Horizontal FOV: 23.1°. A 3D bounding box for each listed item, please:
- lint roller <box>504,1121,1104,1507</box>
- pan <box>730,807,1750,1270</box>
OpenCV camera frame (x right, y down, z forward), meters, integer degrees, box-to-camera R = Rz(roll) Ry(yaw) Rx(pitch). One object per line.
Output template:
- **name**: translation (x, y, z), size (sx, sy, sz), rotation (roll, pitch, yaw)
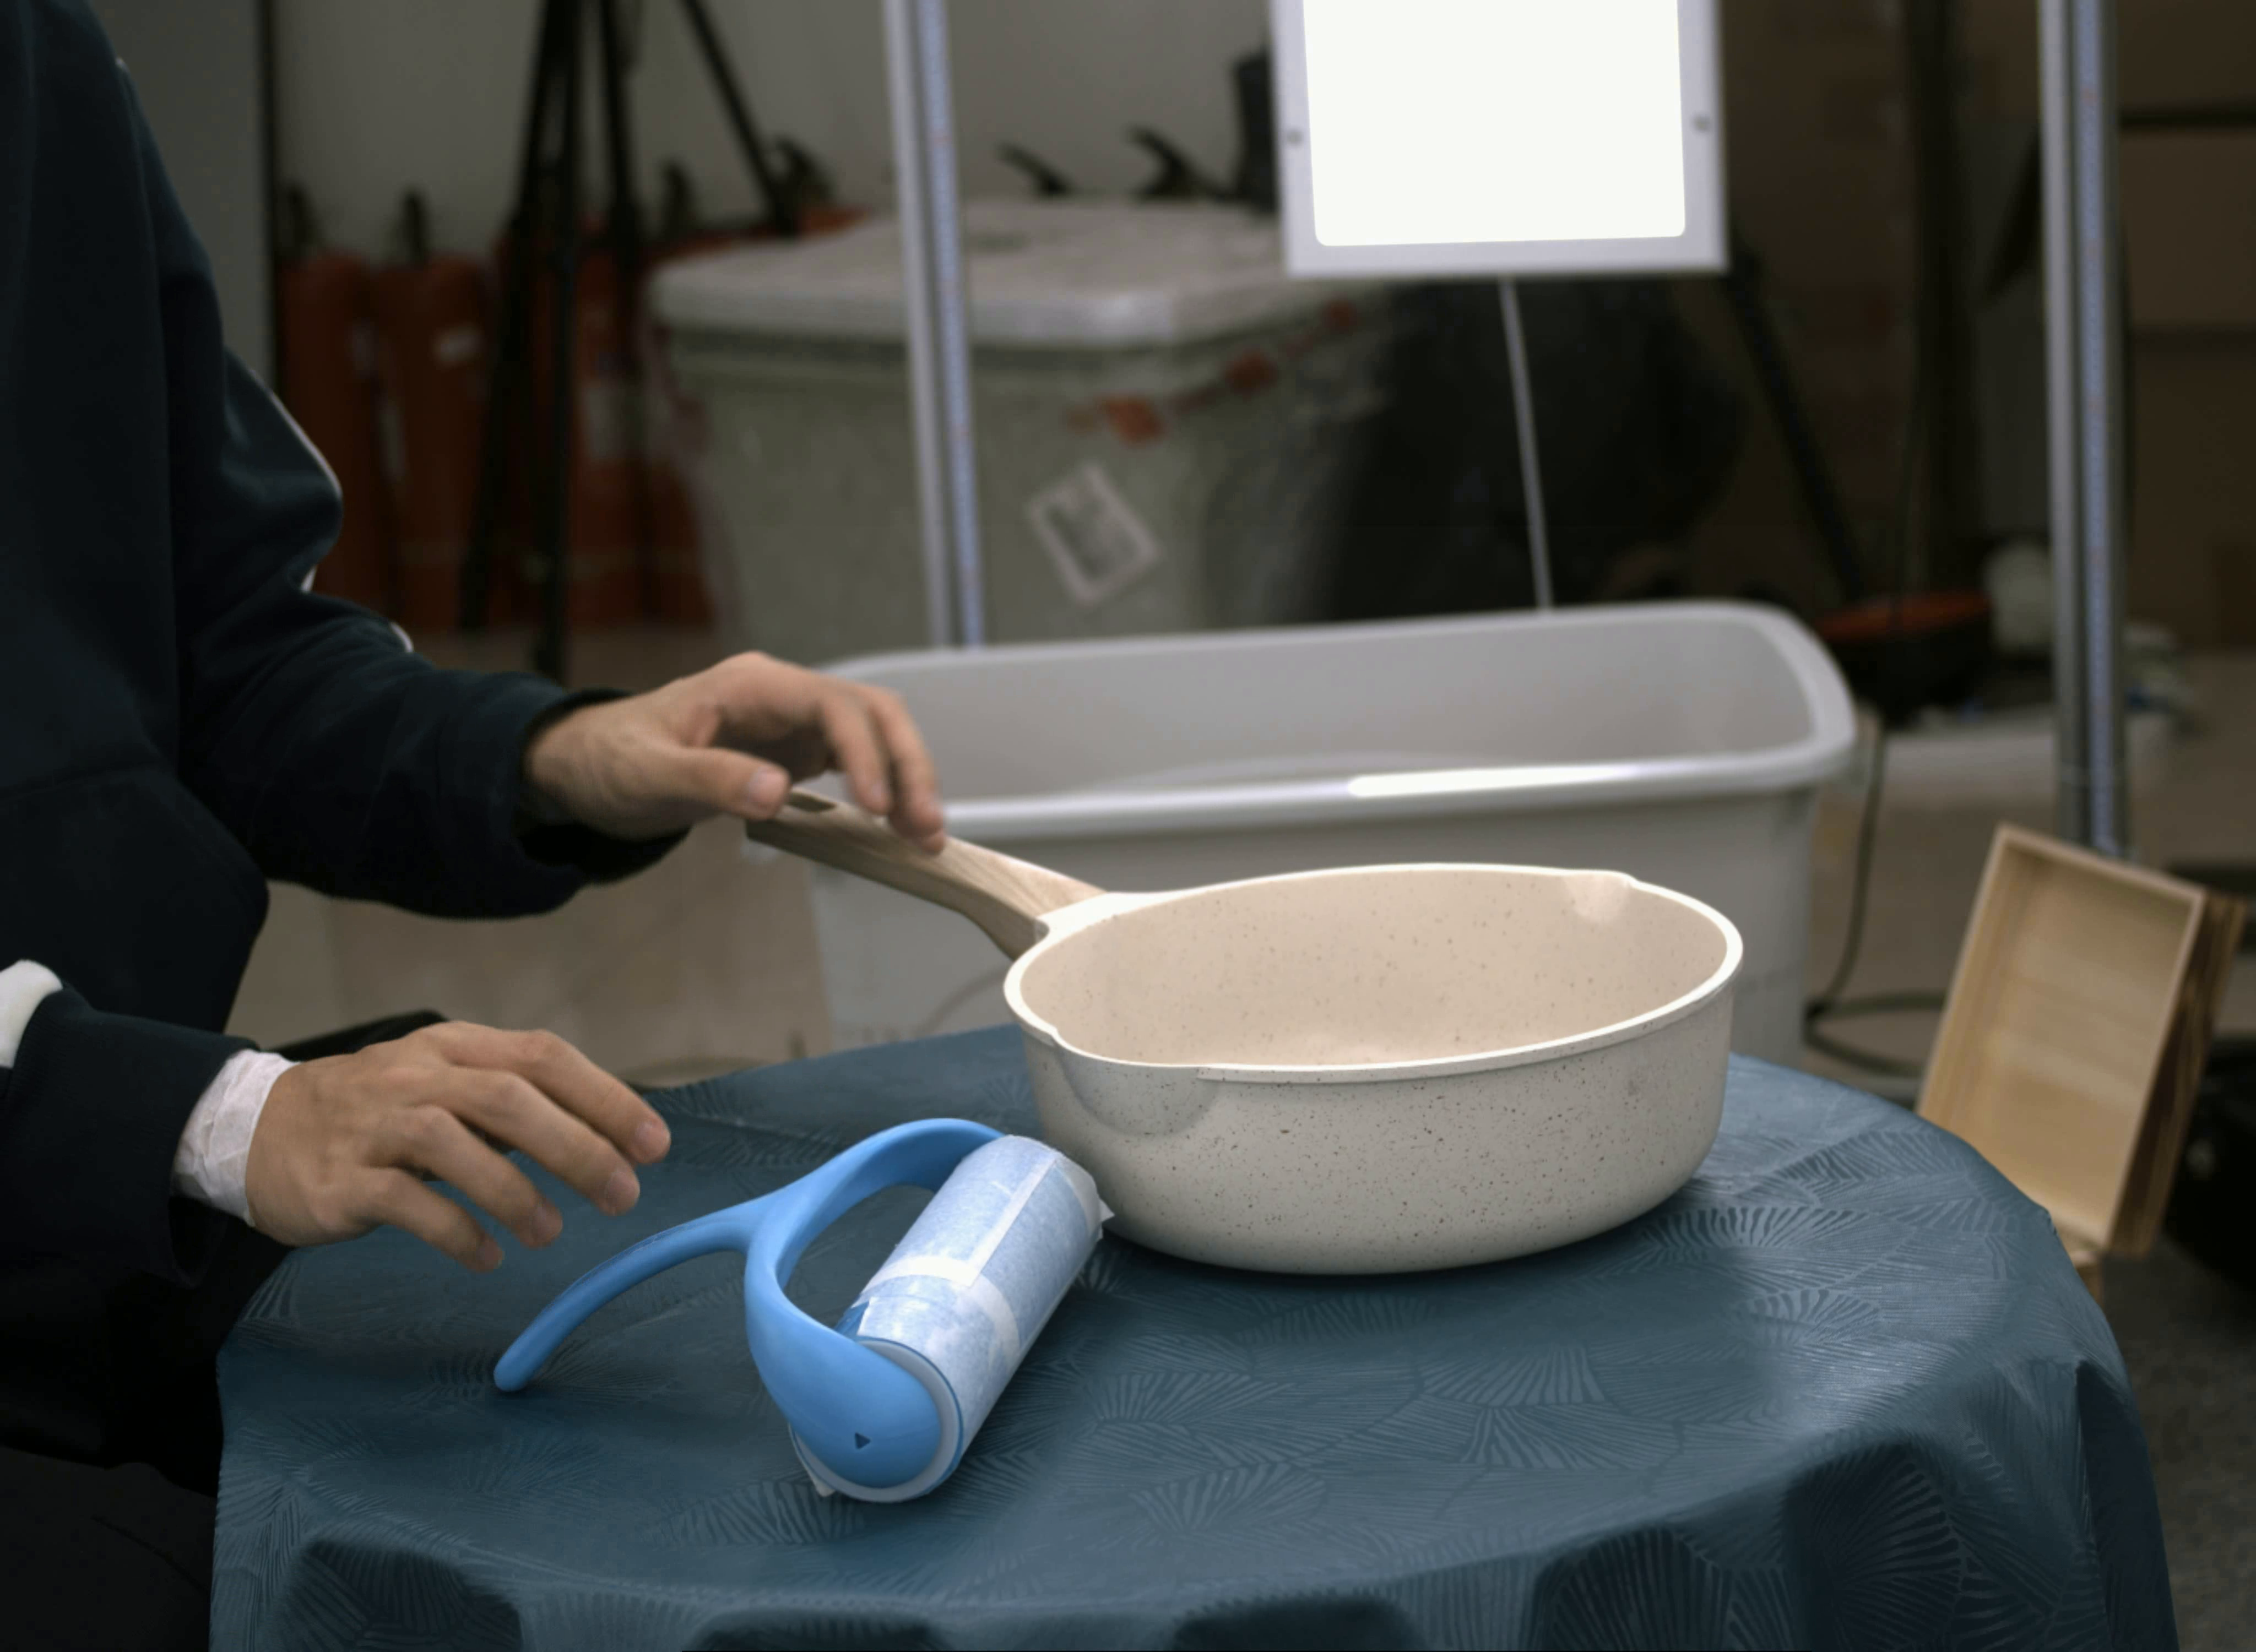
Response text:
- **lint roller**: translation (-0.111, 0.150, 1.718), size (0.181, 0.068, 0.226), rotation (-1, 16, 11)
- **pan**: translation (0.021, 0.065, 1.930), size (0.444, 0.102, 0.257), rotation (8, 20, 44)
